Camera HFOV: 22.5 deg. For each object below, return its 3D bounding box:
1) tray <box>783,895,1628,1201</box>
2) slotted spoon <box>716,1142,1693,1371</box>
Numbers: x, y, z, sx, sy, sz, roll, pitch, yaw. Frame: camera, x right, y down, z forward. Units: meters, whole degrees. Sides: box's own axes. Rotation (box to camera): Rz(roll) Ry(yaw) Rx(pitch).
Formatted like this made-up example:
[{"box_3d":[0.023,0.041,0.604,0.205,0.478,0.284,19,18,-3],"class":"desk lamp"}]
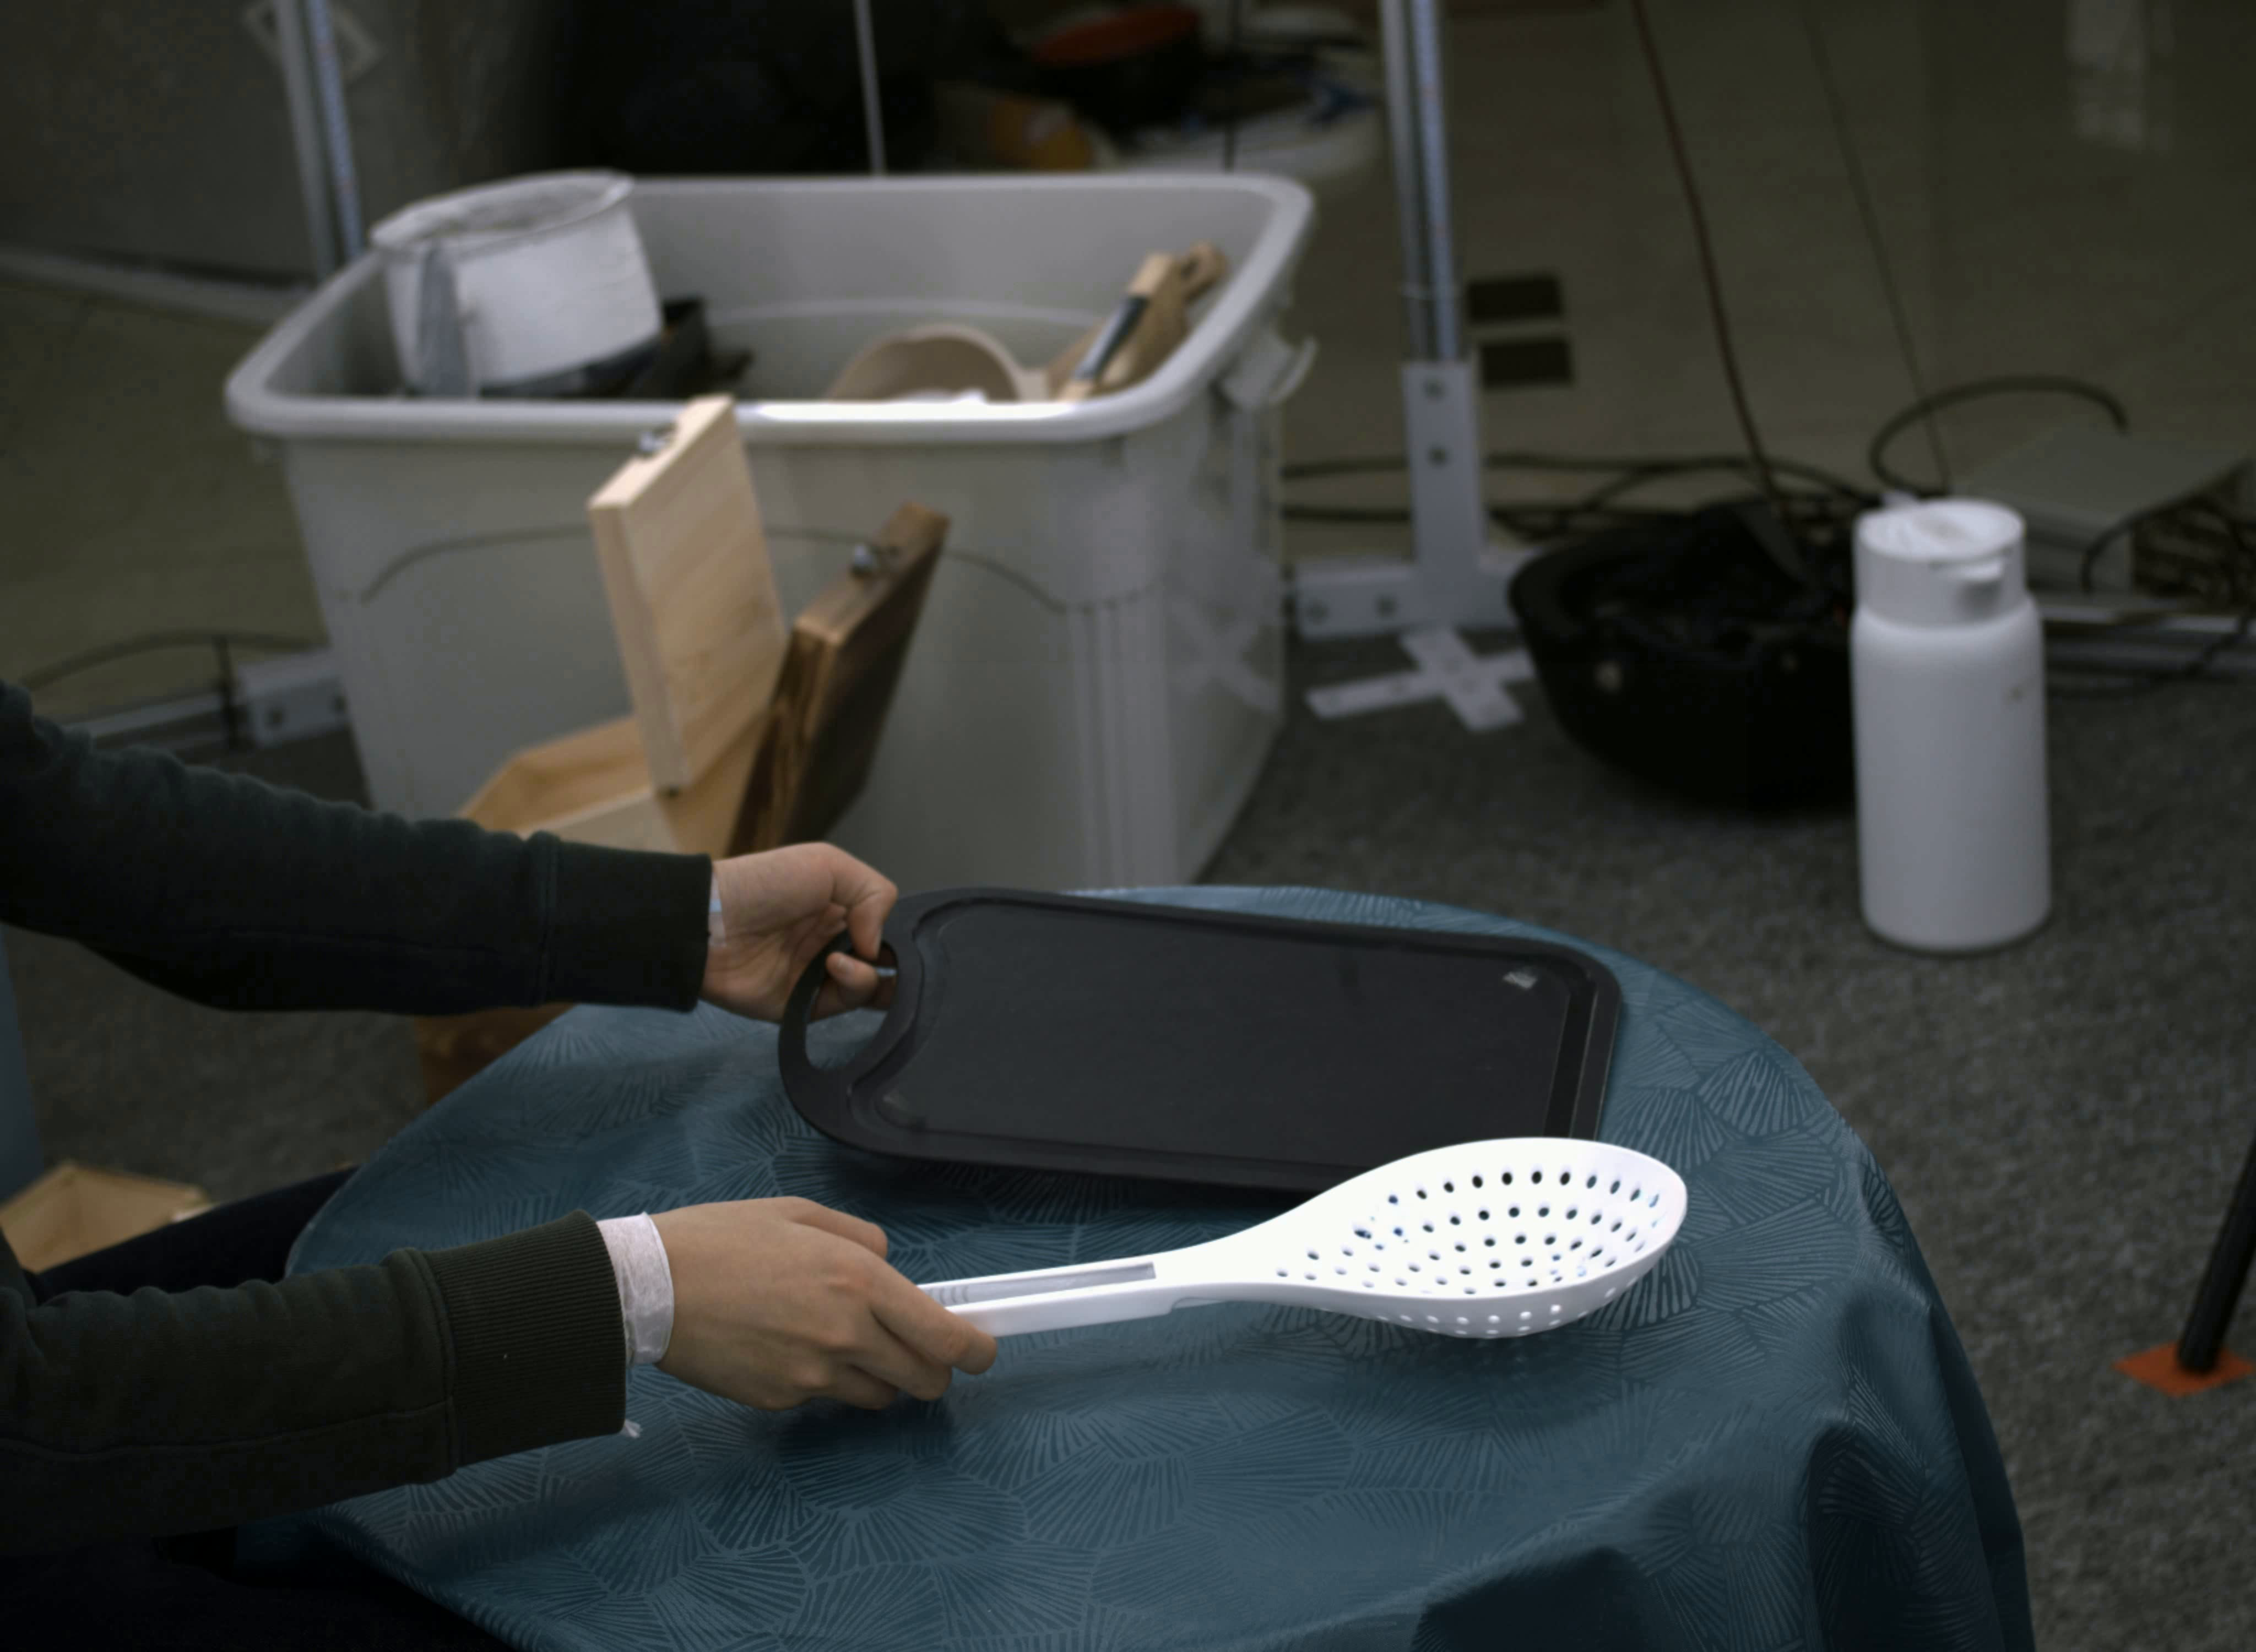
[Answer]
[{"box_3d":[0.028,0.084,2.213,0.324,0.010,0.208,4,29,9],"class":"tray"},{"box_3d":[0.027,0.161,2.023,0.349,0.046,0.134,-3,19,-3],"class":"slotted spoon"}]
